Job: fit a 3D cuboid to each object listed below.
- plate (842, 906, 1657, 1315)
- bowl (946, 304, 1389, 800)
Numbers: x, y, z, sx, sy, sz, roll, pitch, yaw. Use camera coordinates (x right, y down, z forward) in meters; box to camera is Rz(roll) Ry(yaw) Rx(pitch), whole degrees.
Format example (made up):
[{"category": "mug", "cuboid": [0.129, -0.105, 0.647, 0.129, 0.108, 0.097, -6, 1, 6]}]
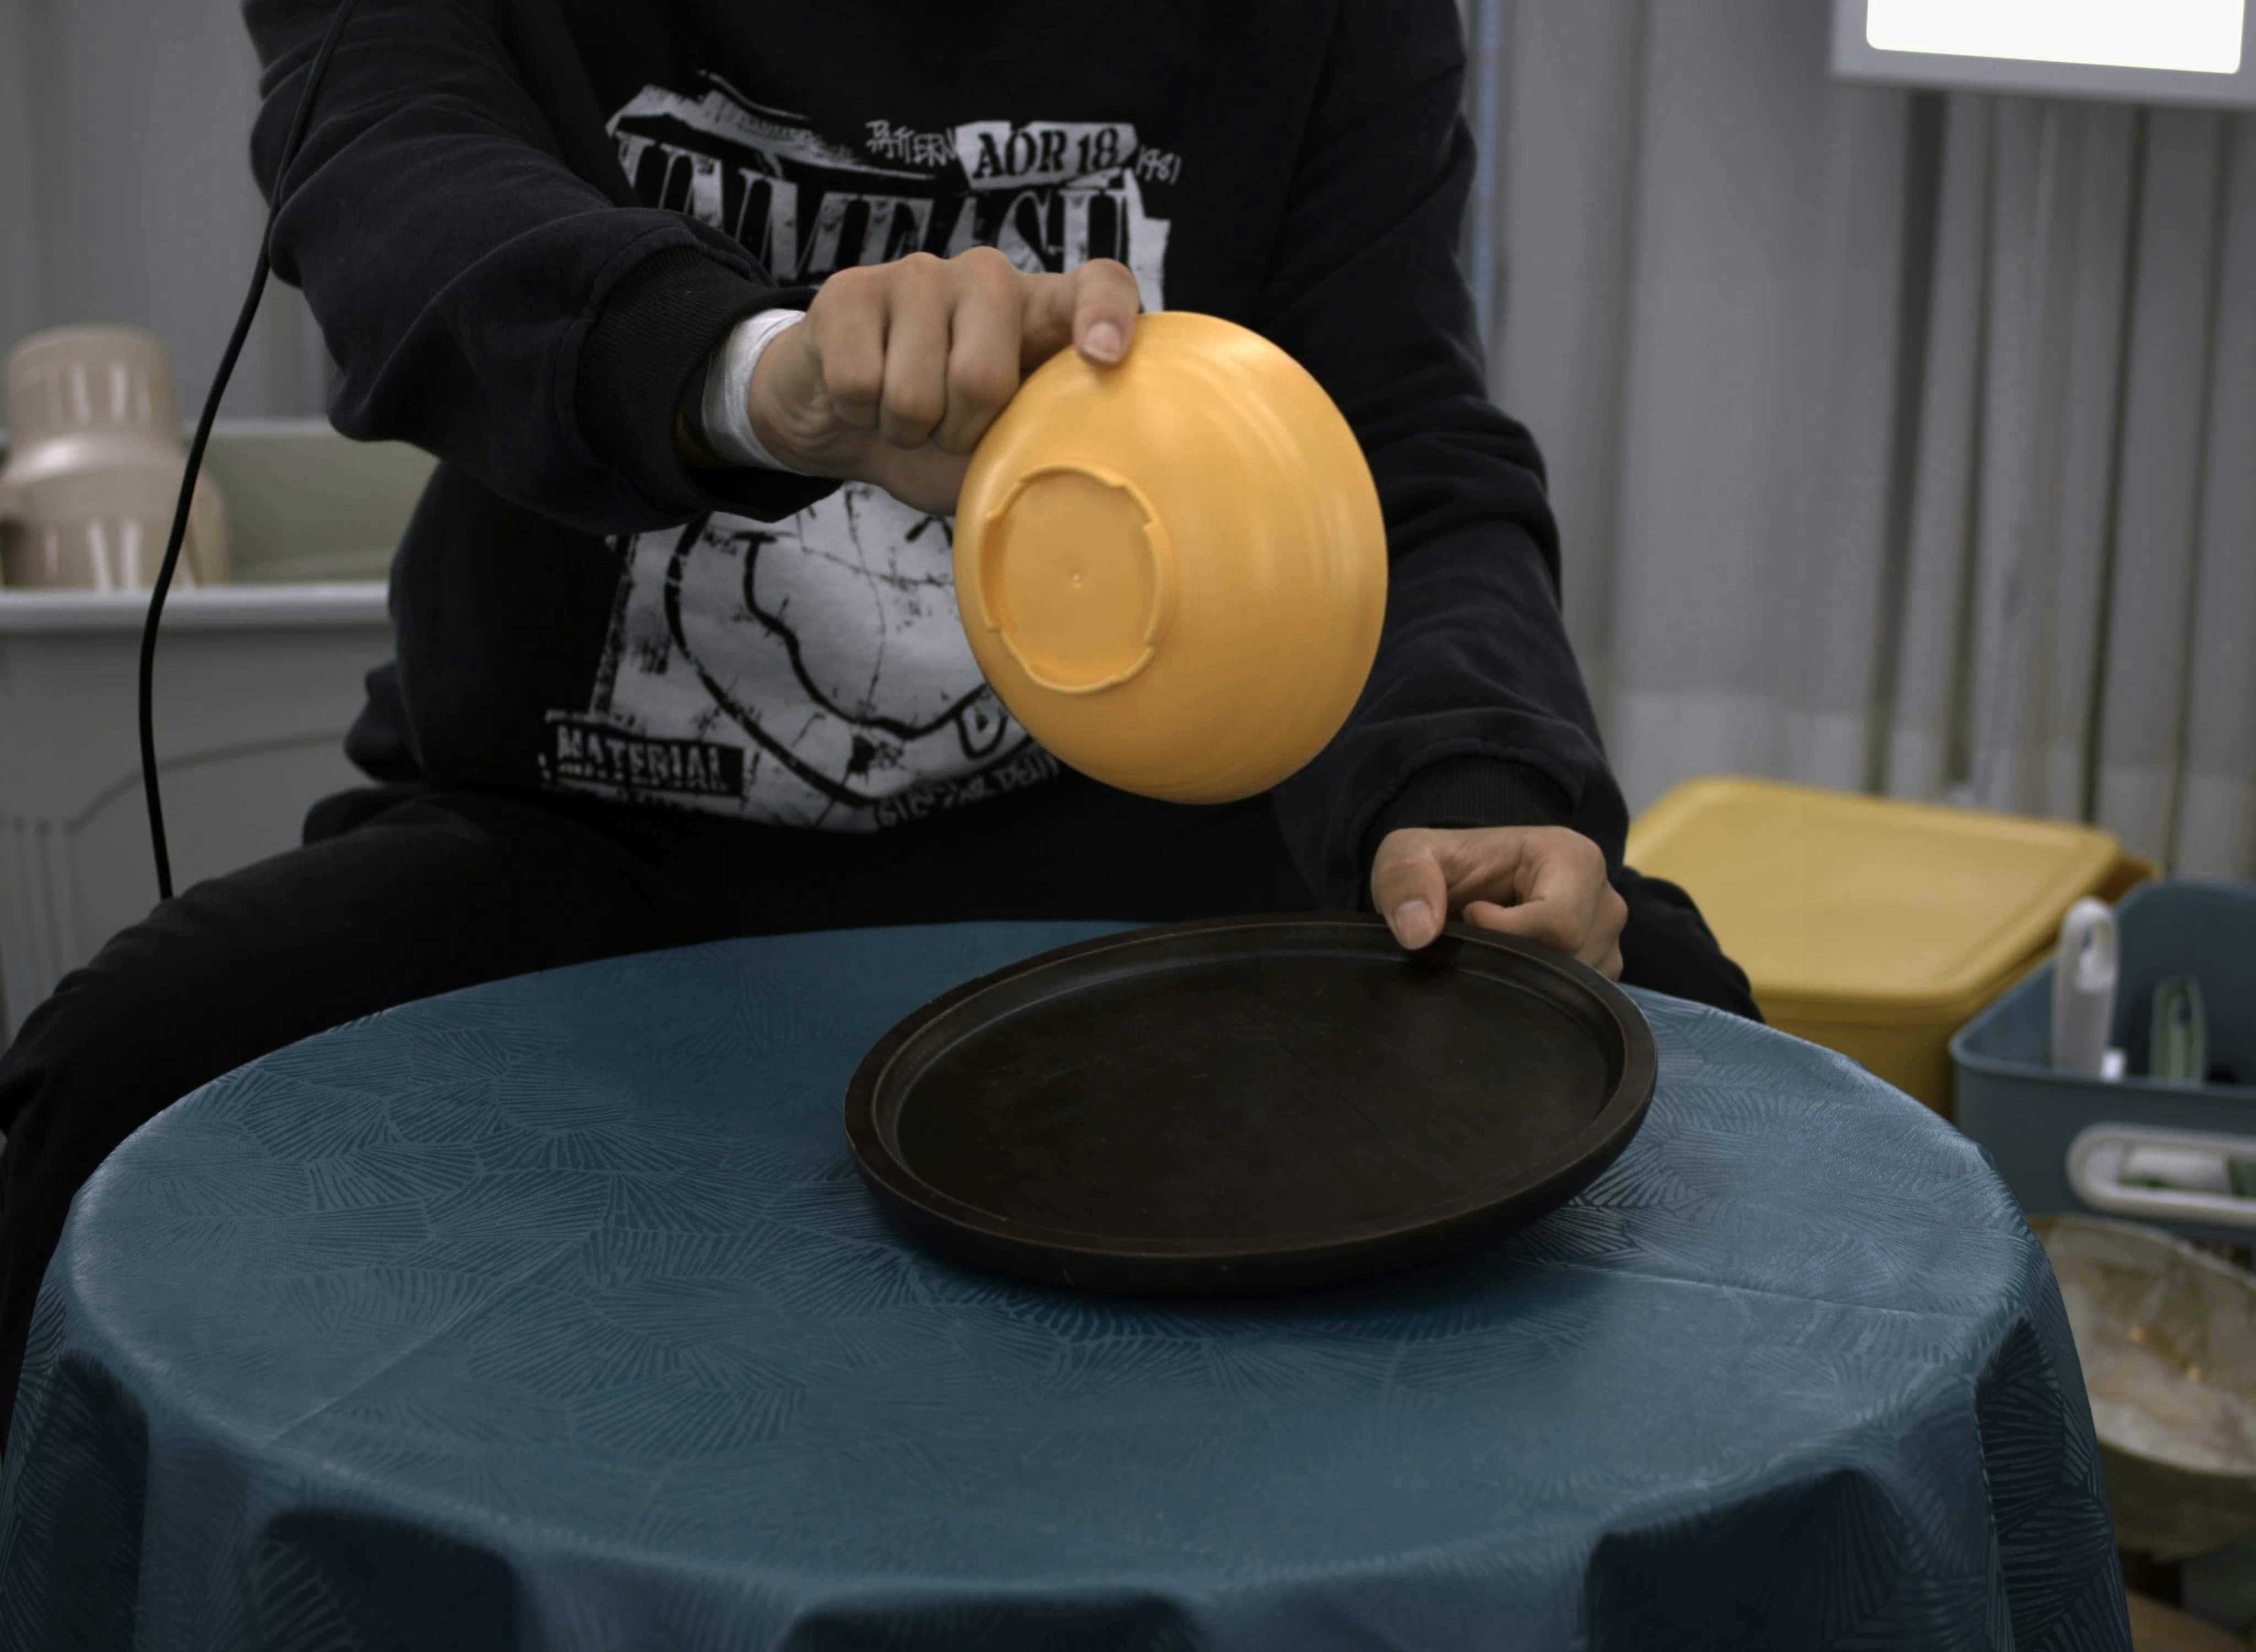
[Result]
[{"category": "plate", "cuboid": [0.038, 0.085, 1.628, 0.254, 0.029, 0.253, -6, 22, 3]}, {"category": "bowl", "cuboid": [-0.001, -0.075, 1.508, 0.143, 0.146, 0.060, 11, 16, 31]}]
